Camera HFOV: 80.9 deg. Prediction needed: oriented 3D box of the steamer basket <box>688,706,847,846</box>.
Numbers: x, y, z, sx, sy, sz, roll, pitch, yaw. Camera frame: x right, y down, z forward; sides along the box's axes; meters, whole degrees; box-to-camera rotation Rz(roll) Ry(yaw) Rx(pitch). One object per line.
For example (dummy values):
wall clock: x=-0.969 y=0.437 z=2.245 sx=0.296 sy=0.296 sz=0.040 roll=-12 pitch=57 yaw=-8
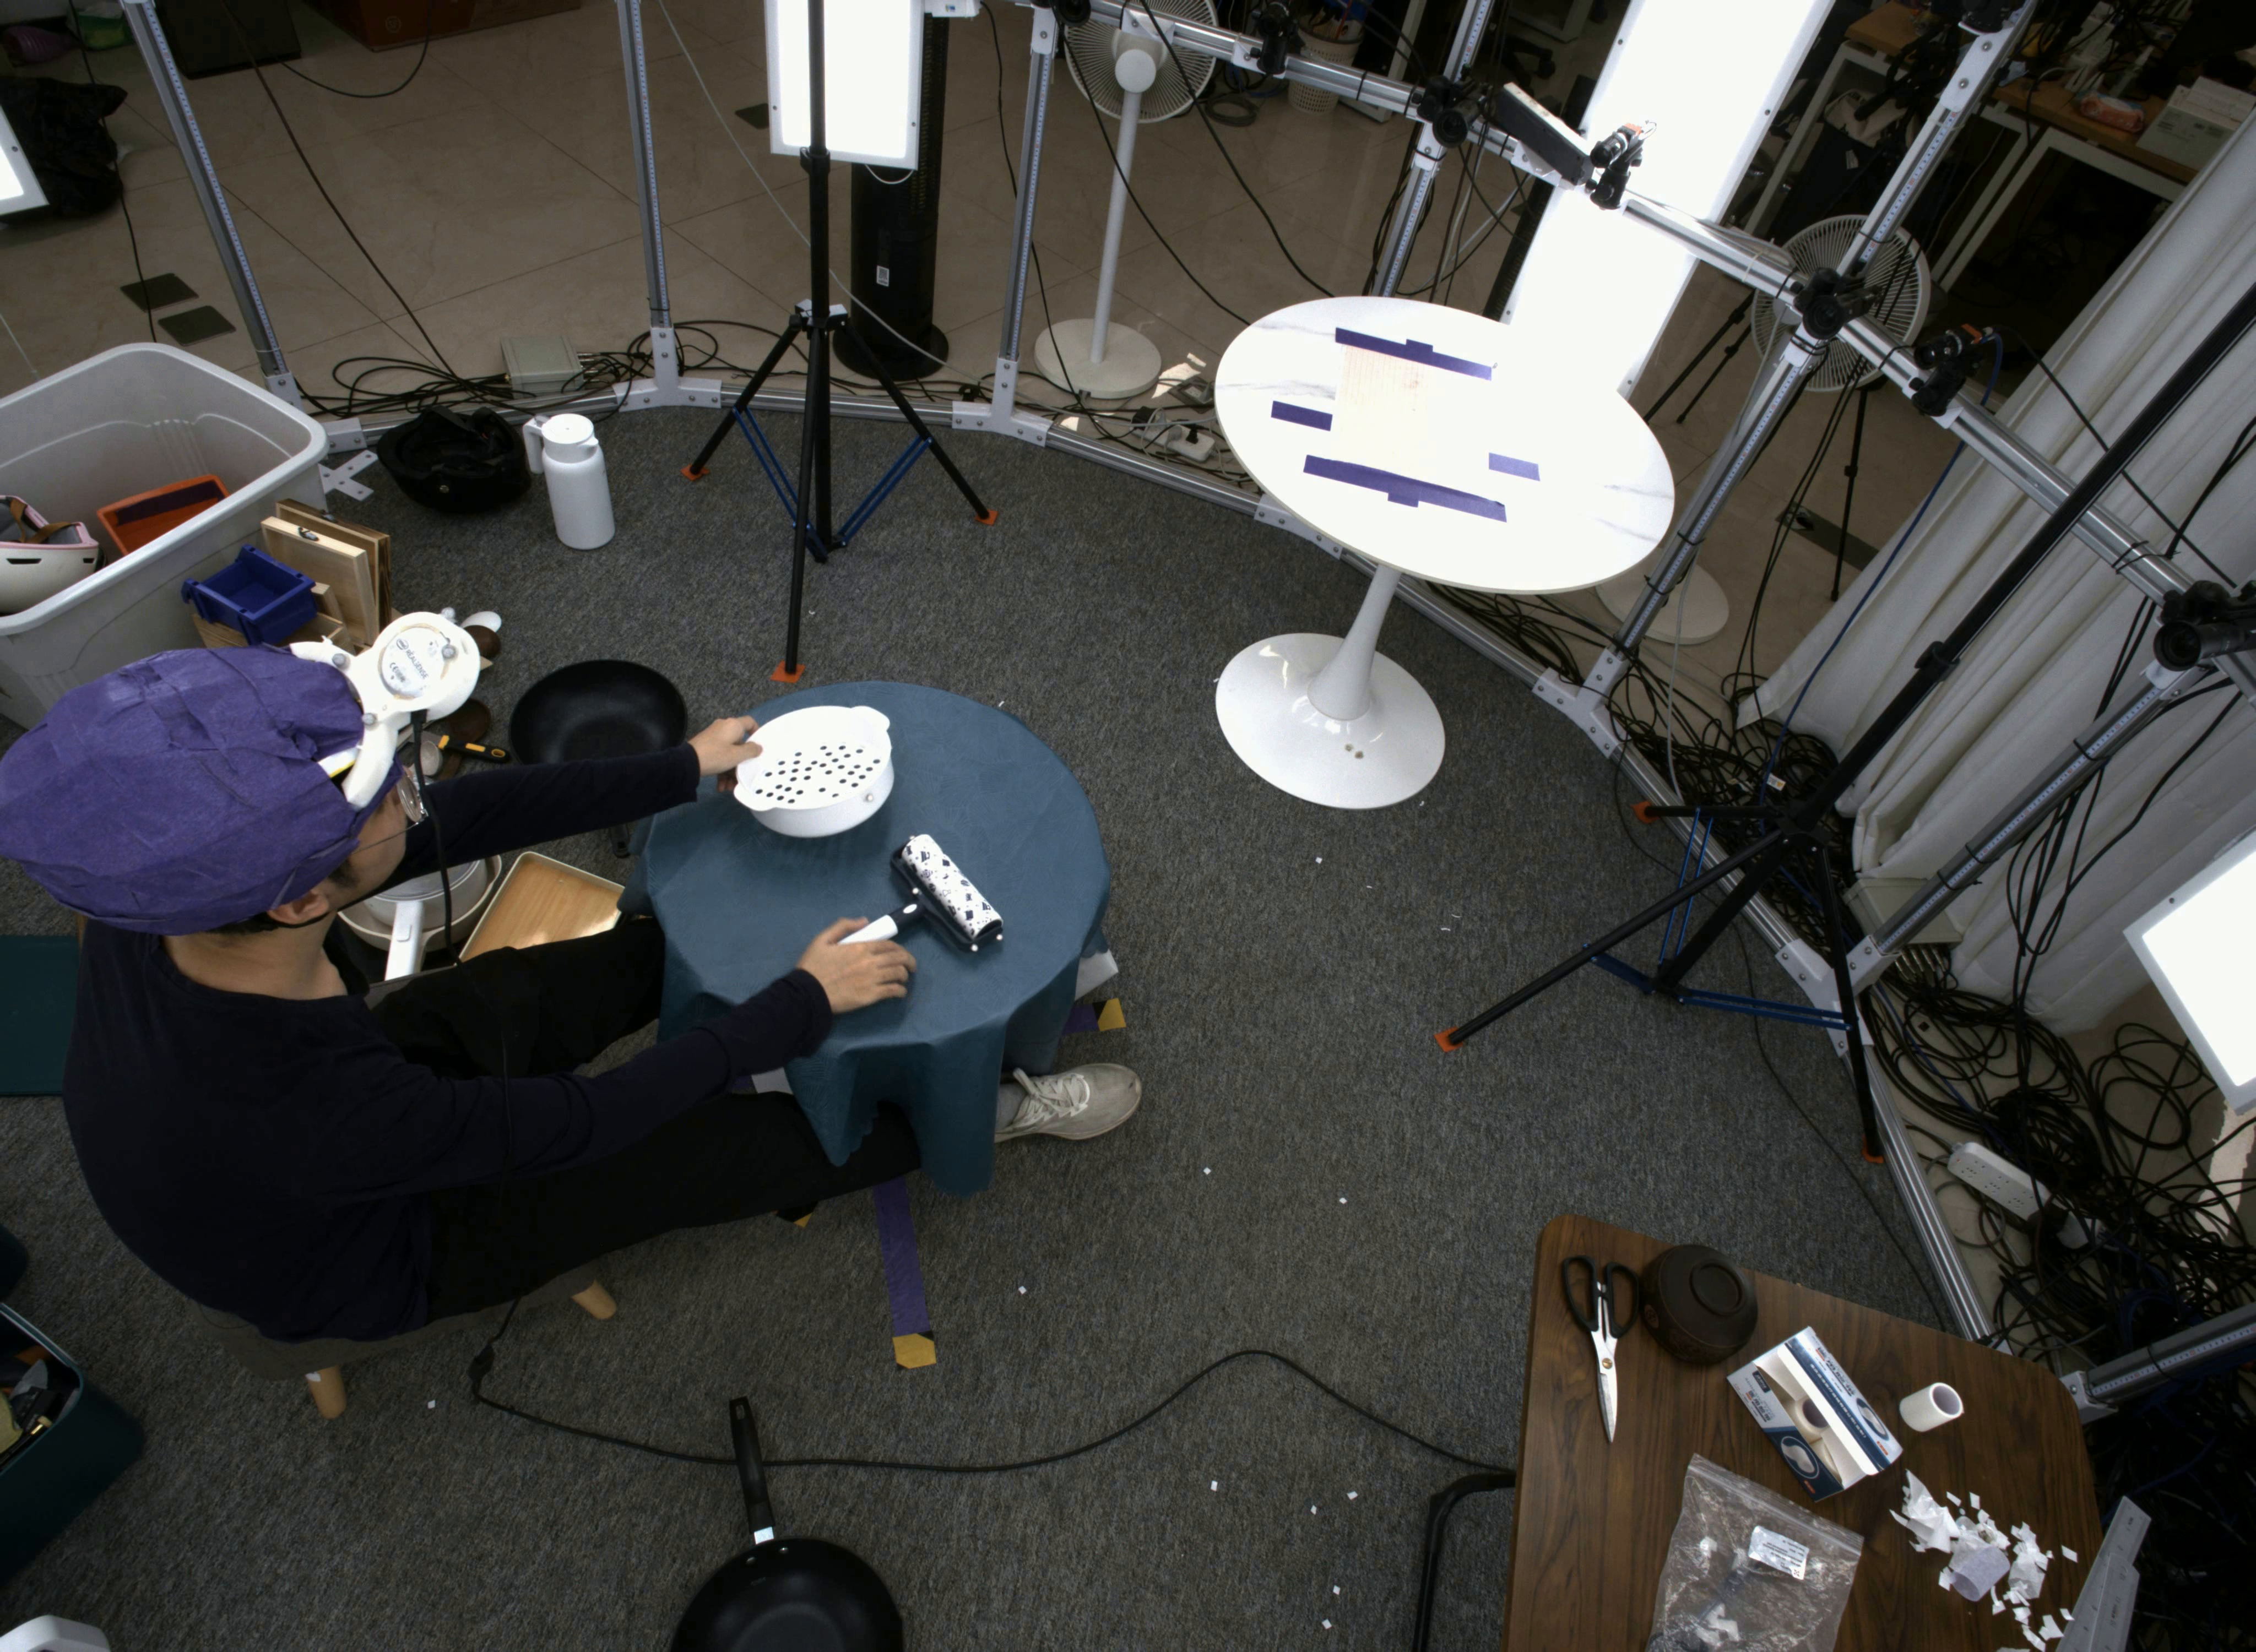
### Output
steamer basket: x=-0.467 y=-0.063 z=1.692 sx=0.195 sy=0.071 sz=0.230 roll=28 pitch=55 yaw=25

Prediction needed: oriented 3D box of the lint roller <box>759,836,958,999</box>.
lint roller: x=-0.356 y=0.132 z=1.629 sx=0.247 sy=0.051 sz=0.172 roll=-36 pitch=70 yaw=-29
